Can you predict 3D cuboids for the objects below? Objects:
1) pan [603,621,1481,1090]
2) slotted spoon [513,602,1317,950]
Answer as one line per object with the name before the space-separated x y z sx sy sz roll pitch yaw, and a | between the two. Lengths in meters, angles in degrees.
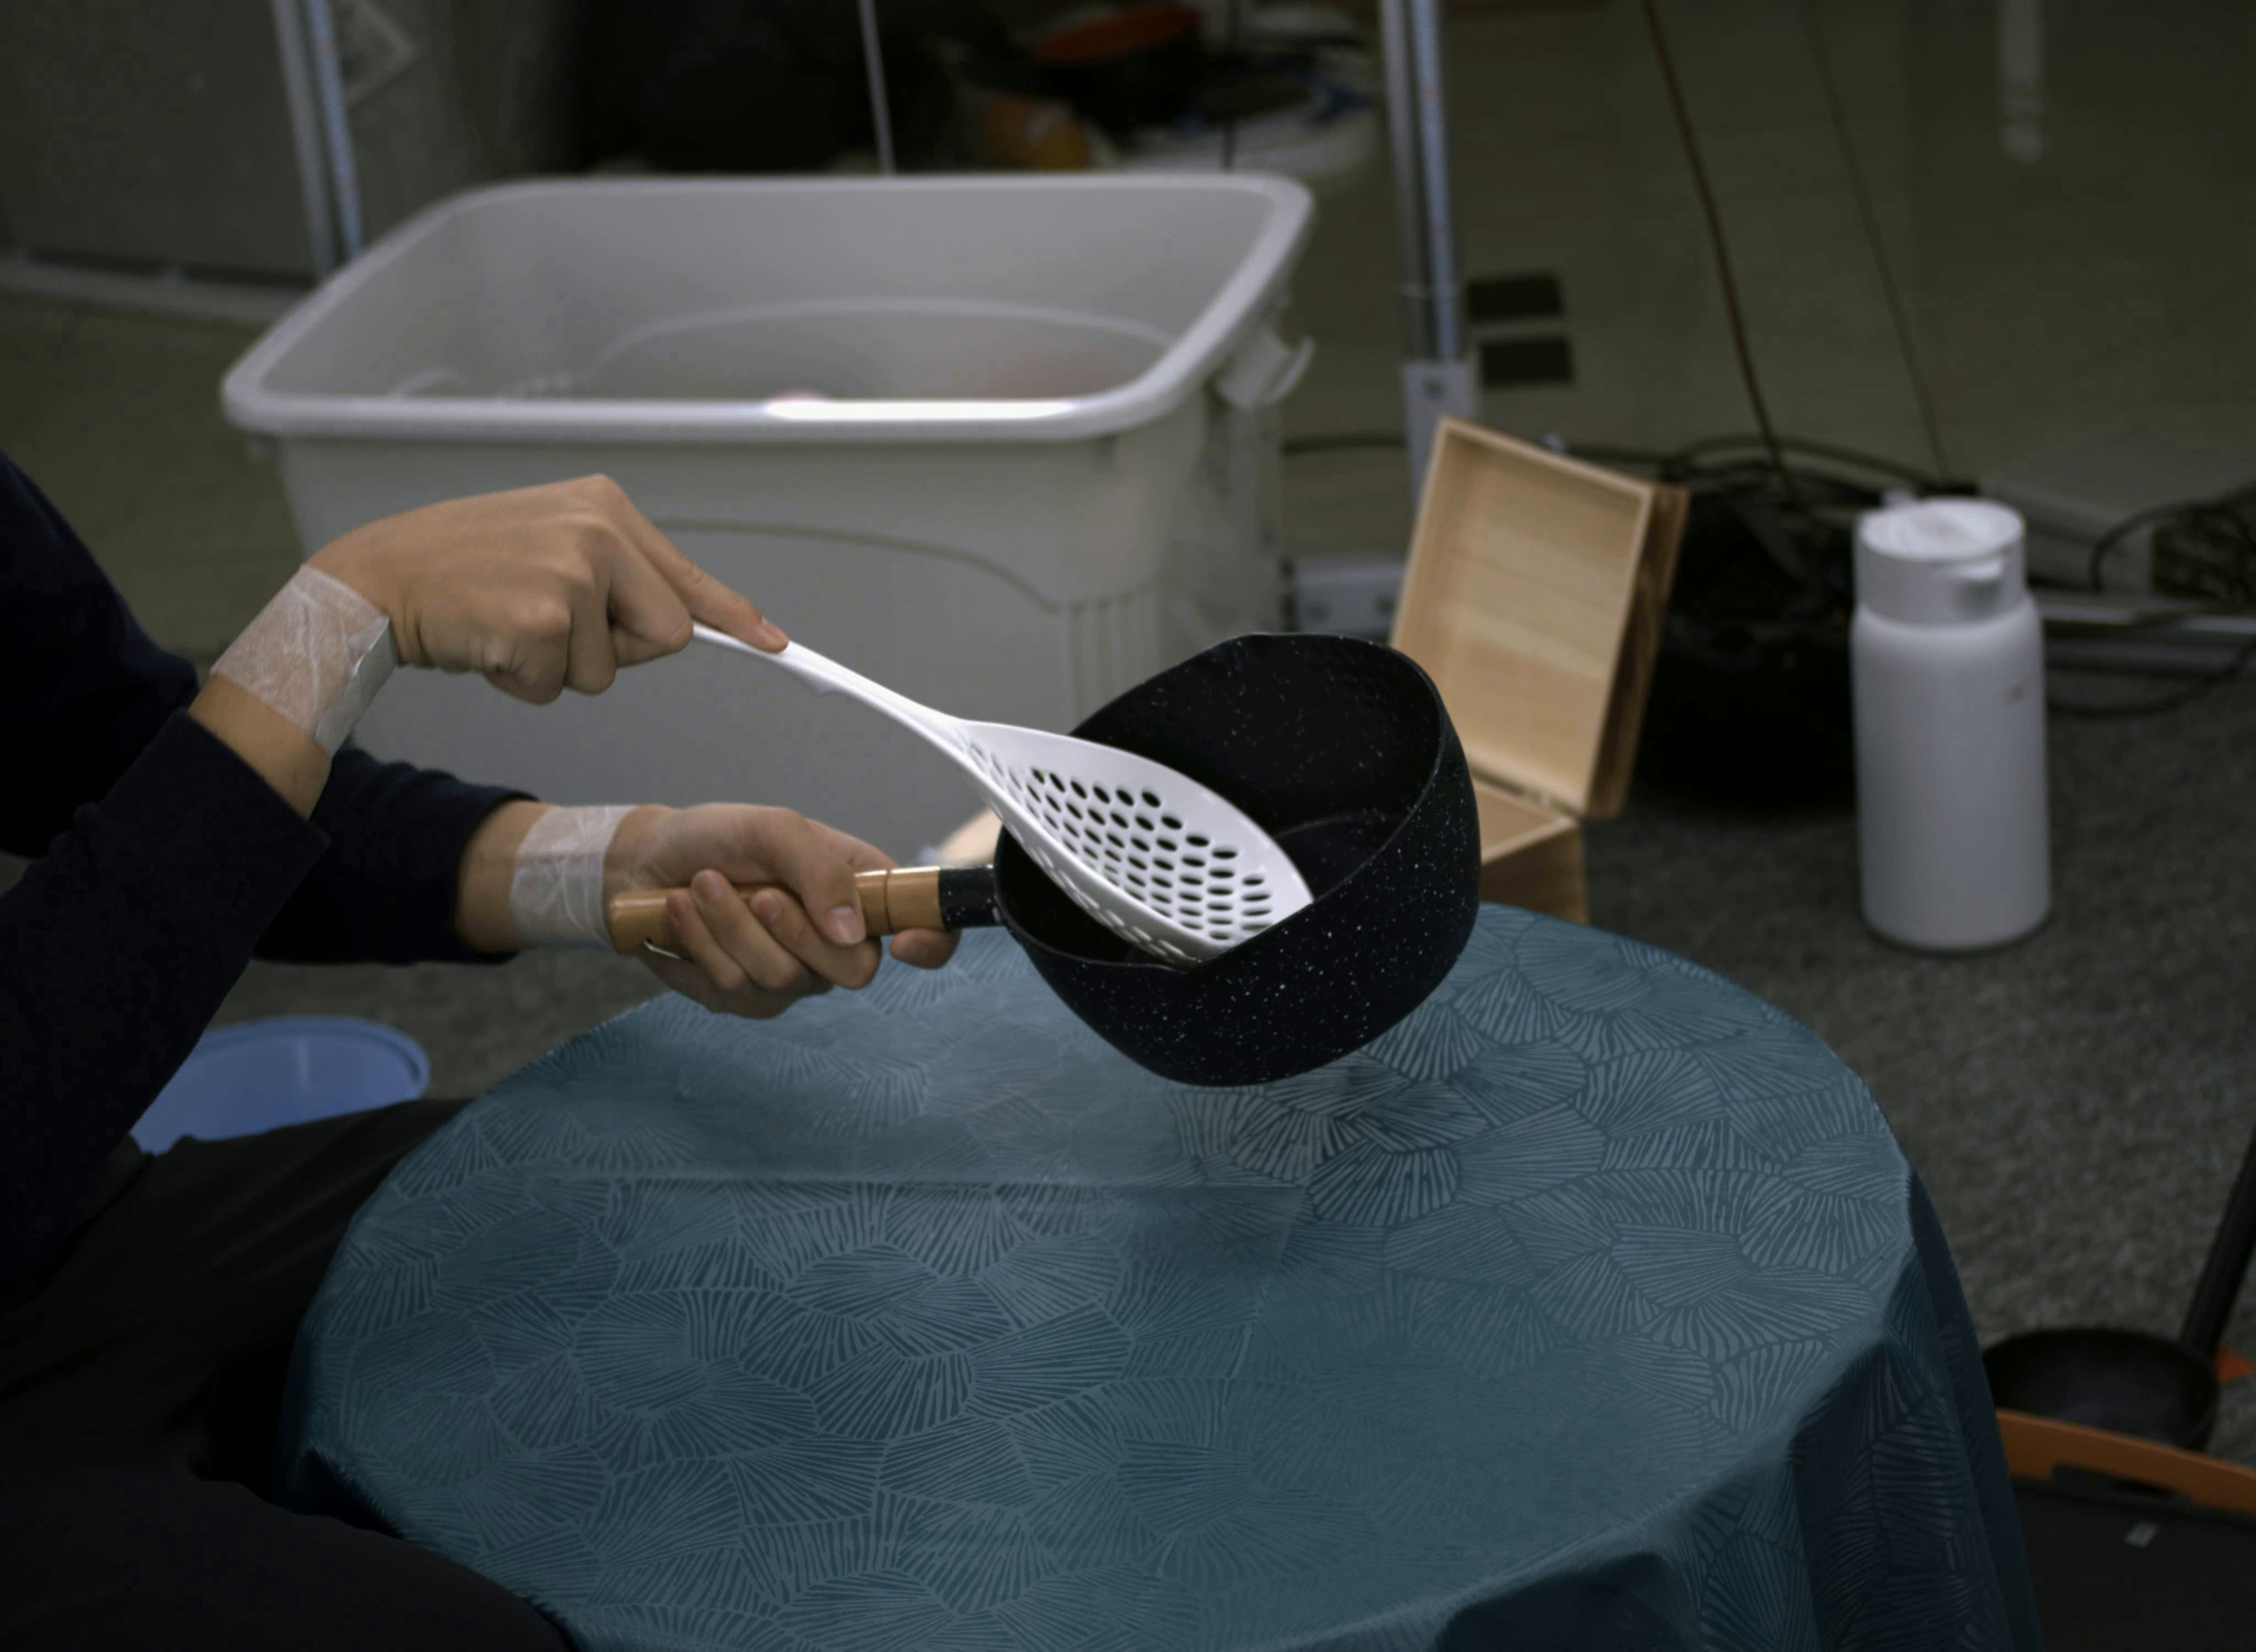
pan | -0.030 0.029 2.164 0.343 0.110 0.204 -14 39 16
slotted spoon | -0.071 -0.024 2.102 0.350 0.051 0.134 29 23 -27
